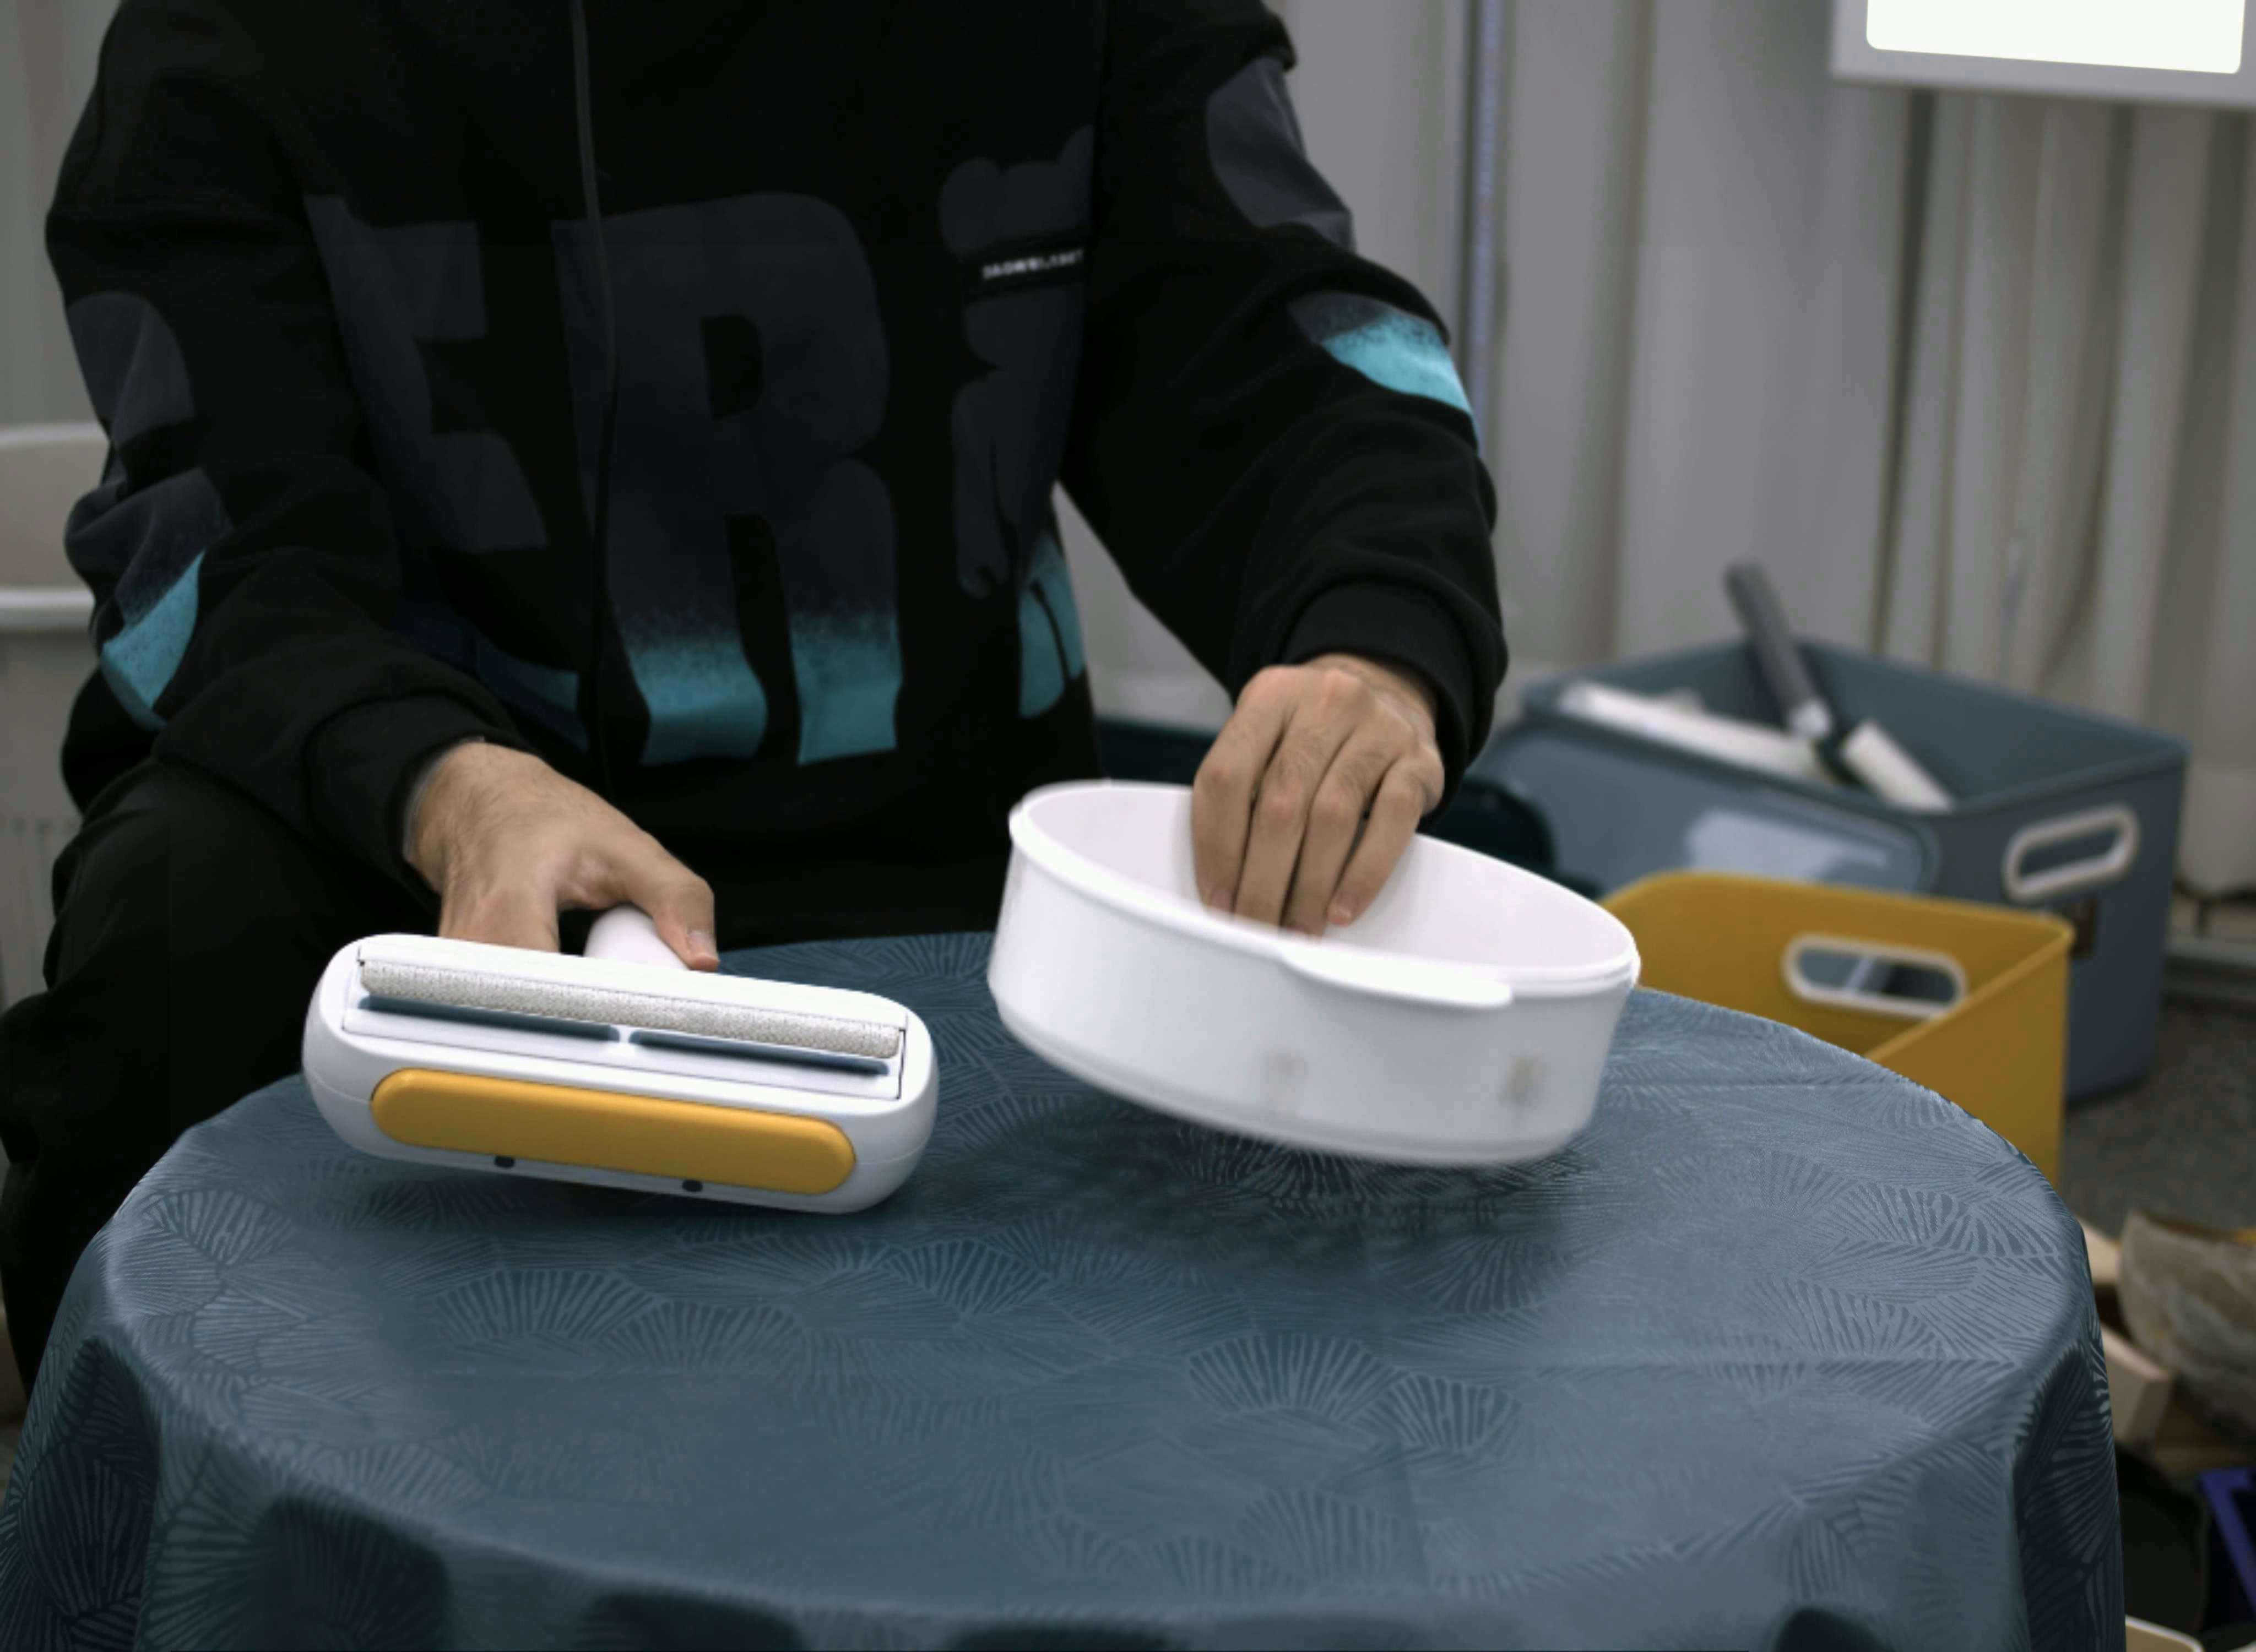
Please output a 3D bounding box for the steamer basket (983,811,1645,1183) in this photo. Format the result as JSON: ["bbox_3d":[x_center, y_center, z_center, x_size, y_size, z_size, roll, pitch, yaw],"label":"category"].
[{"bbox_3d":[0.056,0.054,1.629,0.202,0.069,0.228,11,10,-15],"label":"steamer basket"}]

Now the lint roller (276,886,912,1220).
[{"bbox_3d":[-0.158,0.054,1.653,0.192,0.075,0.191,5,28,1],"label":"lint roller"}]
